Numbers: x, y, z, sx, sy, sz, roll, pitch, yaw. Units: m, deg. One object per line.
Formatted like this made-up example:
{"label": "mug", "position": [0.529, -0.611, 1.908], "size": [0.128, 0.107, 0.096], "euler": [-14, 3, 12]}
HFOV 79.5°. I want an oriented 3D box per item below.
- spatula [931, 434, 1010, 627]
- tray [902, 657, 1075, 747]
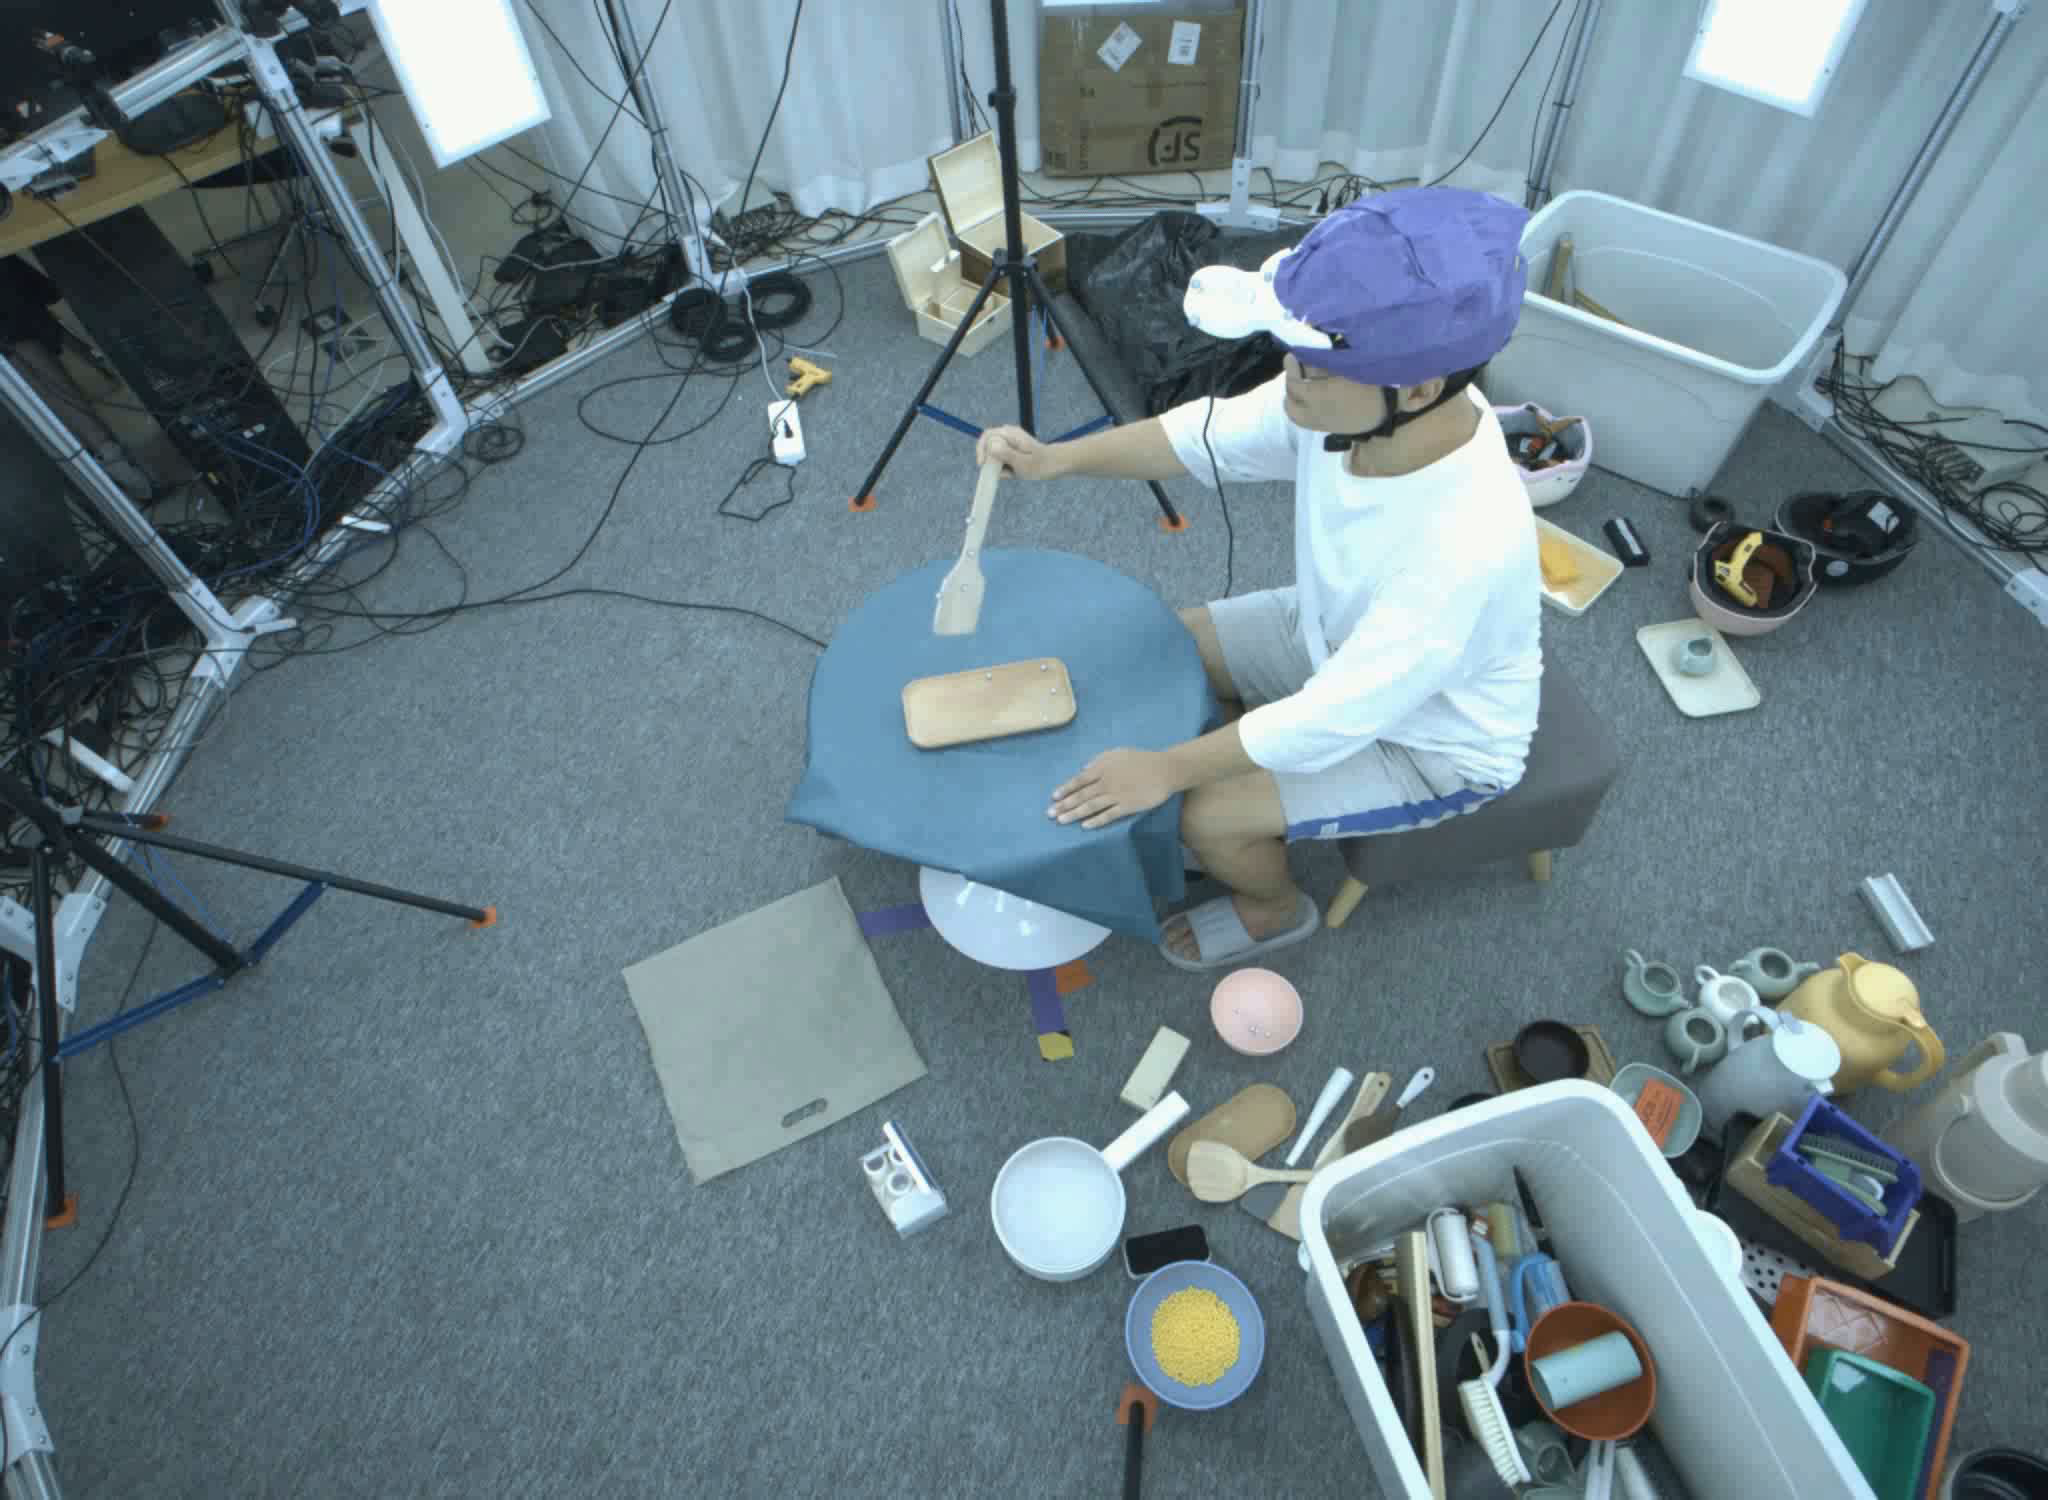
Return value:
{"label": "spatula", "position": [-0.070, -0.300, 1.685], "size": [0.074, 0.294, 0.010], "euler": [-7, 37, -36]}
{"label": "tray", "position": [-0.054, -0.071, 1.827], "size": [0.251, 0.023, 0.128], "euler": [-9, 52, -4]}
